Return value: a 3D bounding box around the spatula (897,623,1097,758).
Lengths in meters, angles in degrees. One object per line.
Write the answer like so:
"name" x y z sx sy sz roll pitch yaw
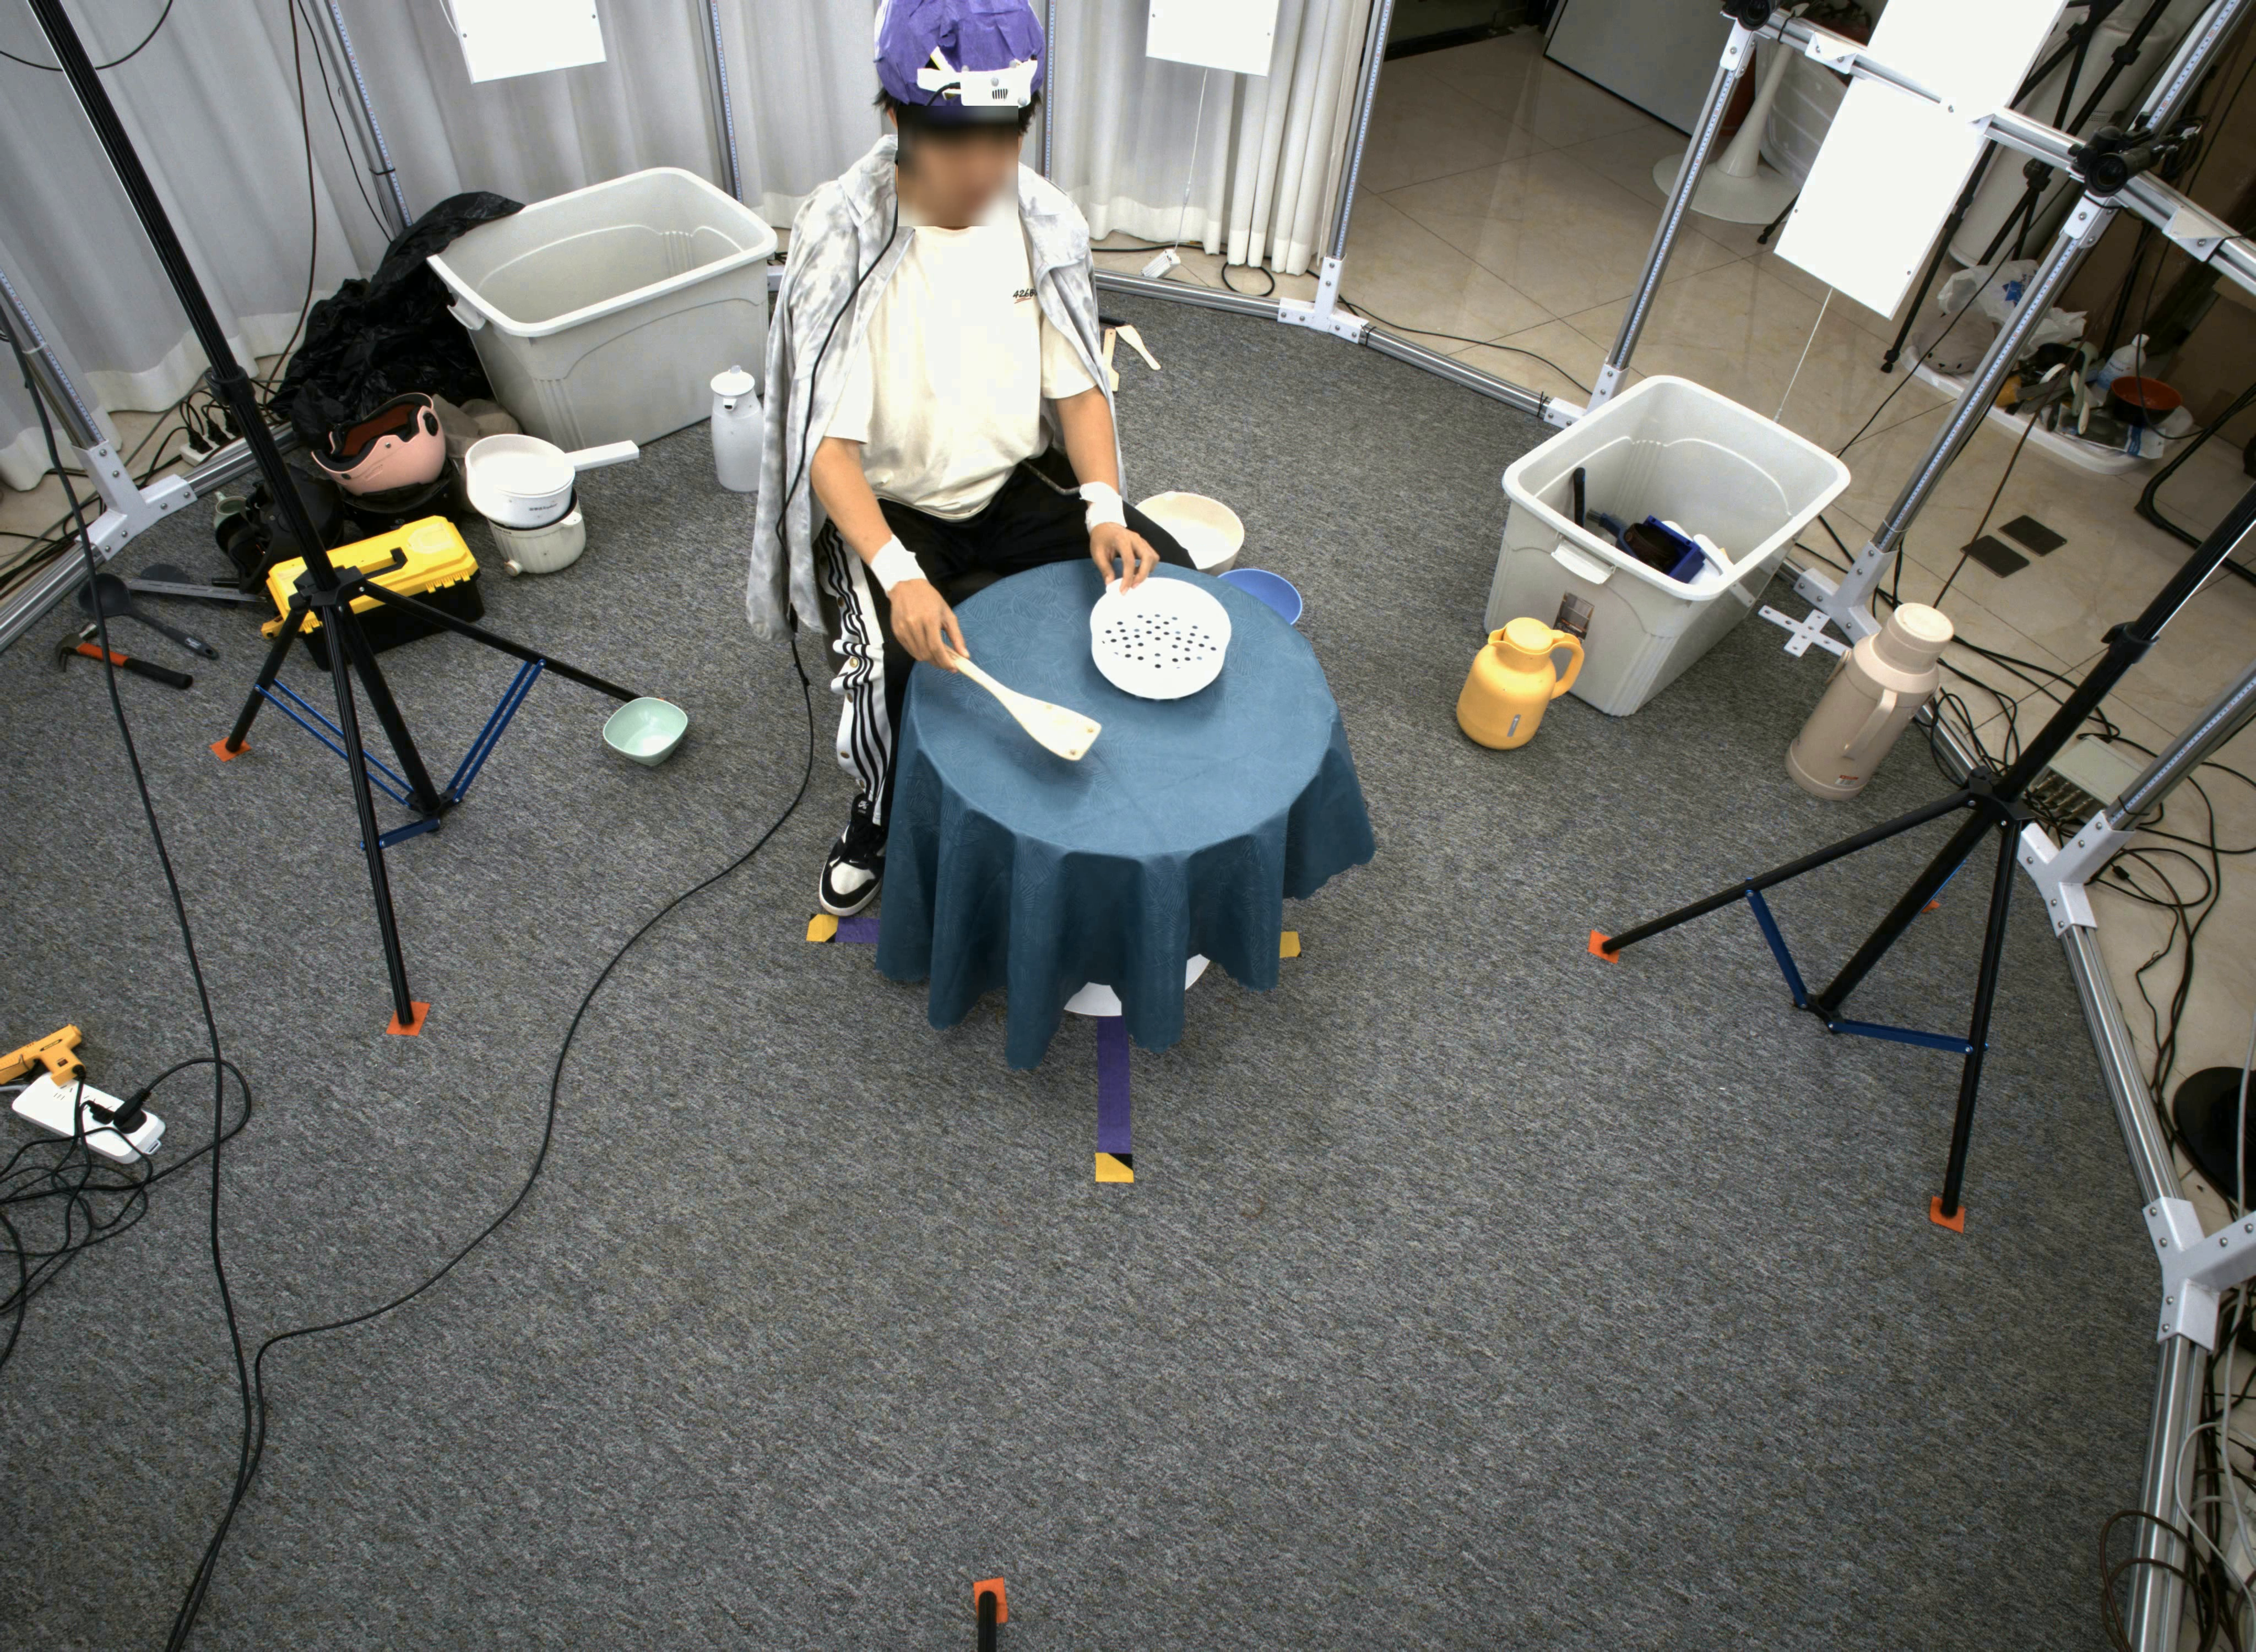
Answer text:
"spatula" -0.182 -0.191 1.724 0.331 0.016 0.081 34 52 17

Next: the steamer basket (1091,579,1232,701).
"steamer basket" 0.047 -0.266 1.853 0.202 0.067 0.235 -20 52 -22
